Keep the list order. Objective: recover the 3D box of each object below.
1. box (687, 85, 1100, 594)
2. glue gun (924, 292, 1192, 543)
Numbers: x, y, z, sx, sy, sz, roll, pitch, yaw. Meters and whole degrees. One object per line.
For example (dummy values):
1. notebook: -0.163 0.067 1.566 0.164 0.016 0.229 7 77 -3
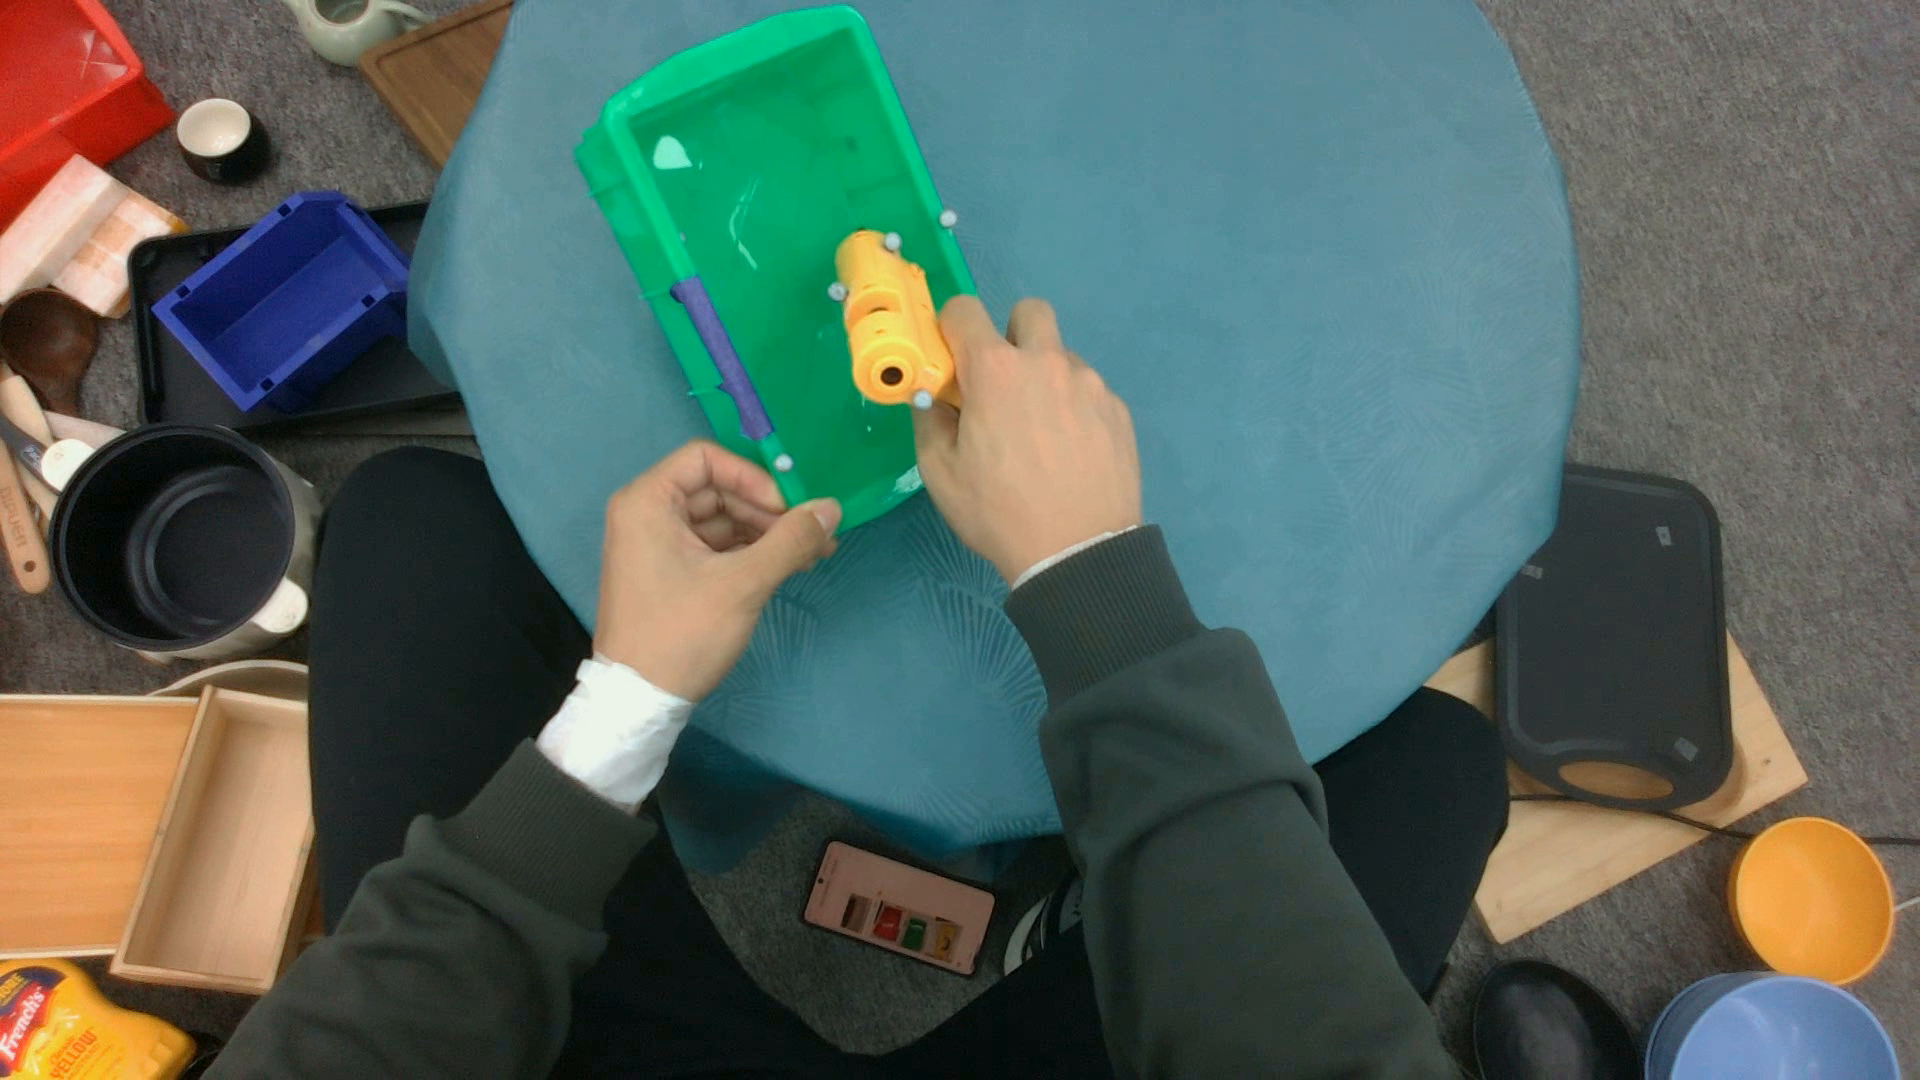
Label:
1. box: -0.031 -0.092 0.648 0.139 0.065 0.210 -32 109 -27
2. glue gun: 0.038 -0.067 0.650 0.133 0.152 0.031 23 119 -24
